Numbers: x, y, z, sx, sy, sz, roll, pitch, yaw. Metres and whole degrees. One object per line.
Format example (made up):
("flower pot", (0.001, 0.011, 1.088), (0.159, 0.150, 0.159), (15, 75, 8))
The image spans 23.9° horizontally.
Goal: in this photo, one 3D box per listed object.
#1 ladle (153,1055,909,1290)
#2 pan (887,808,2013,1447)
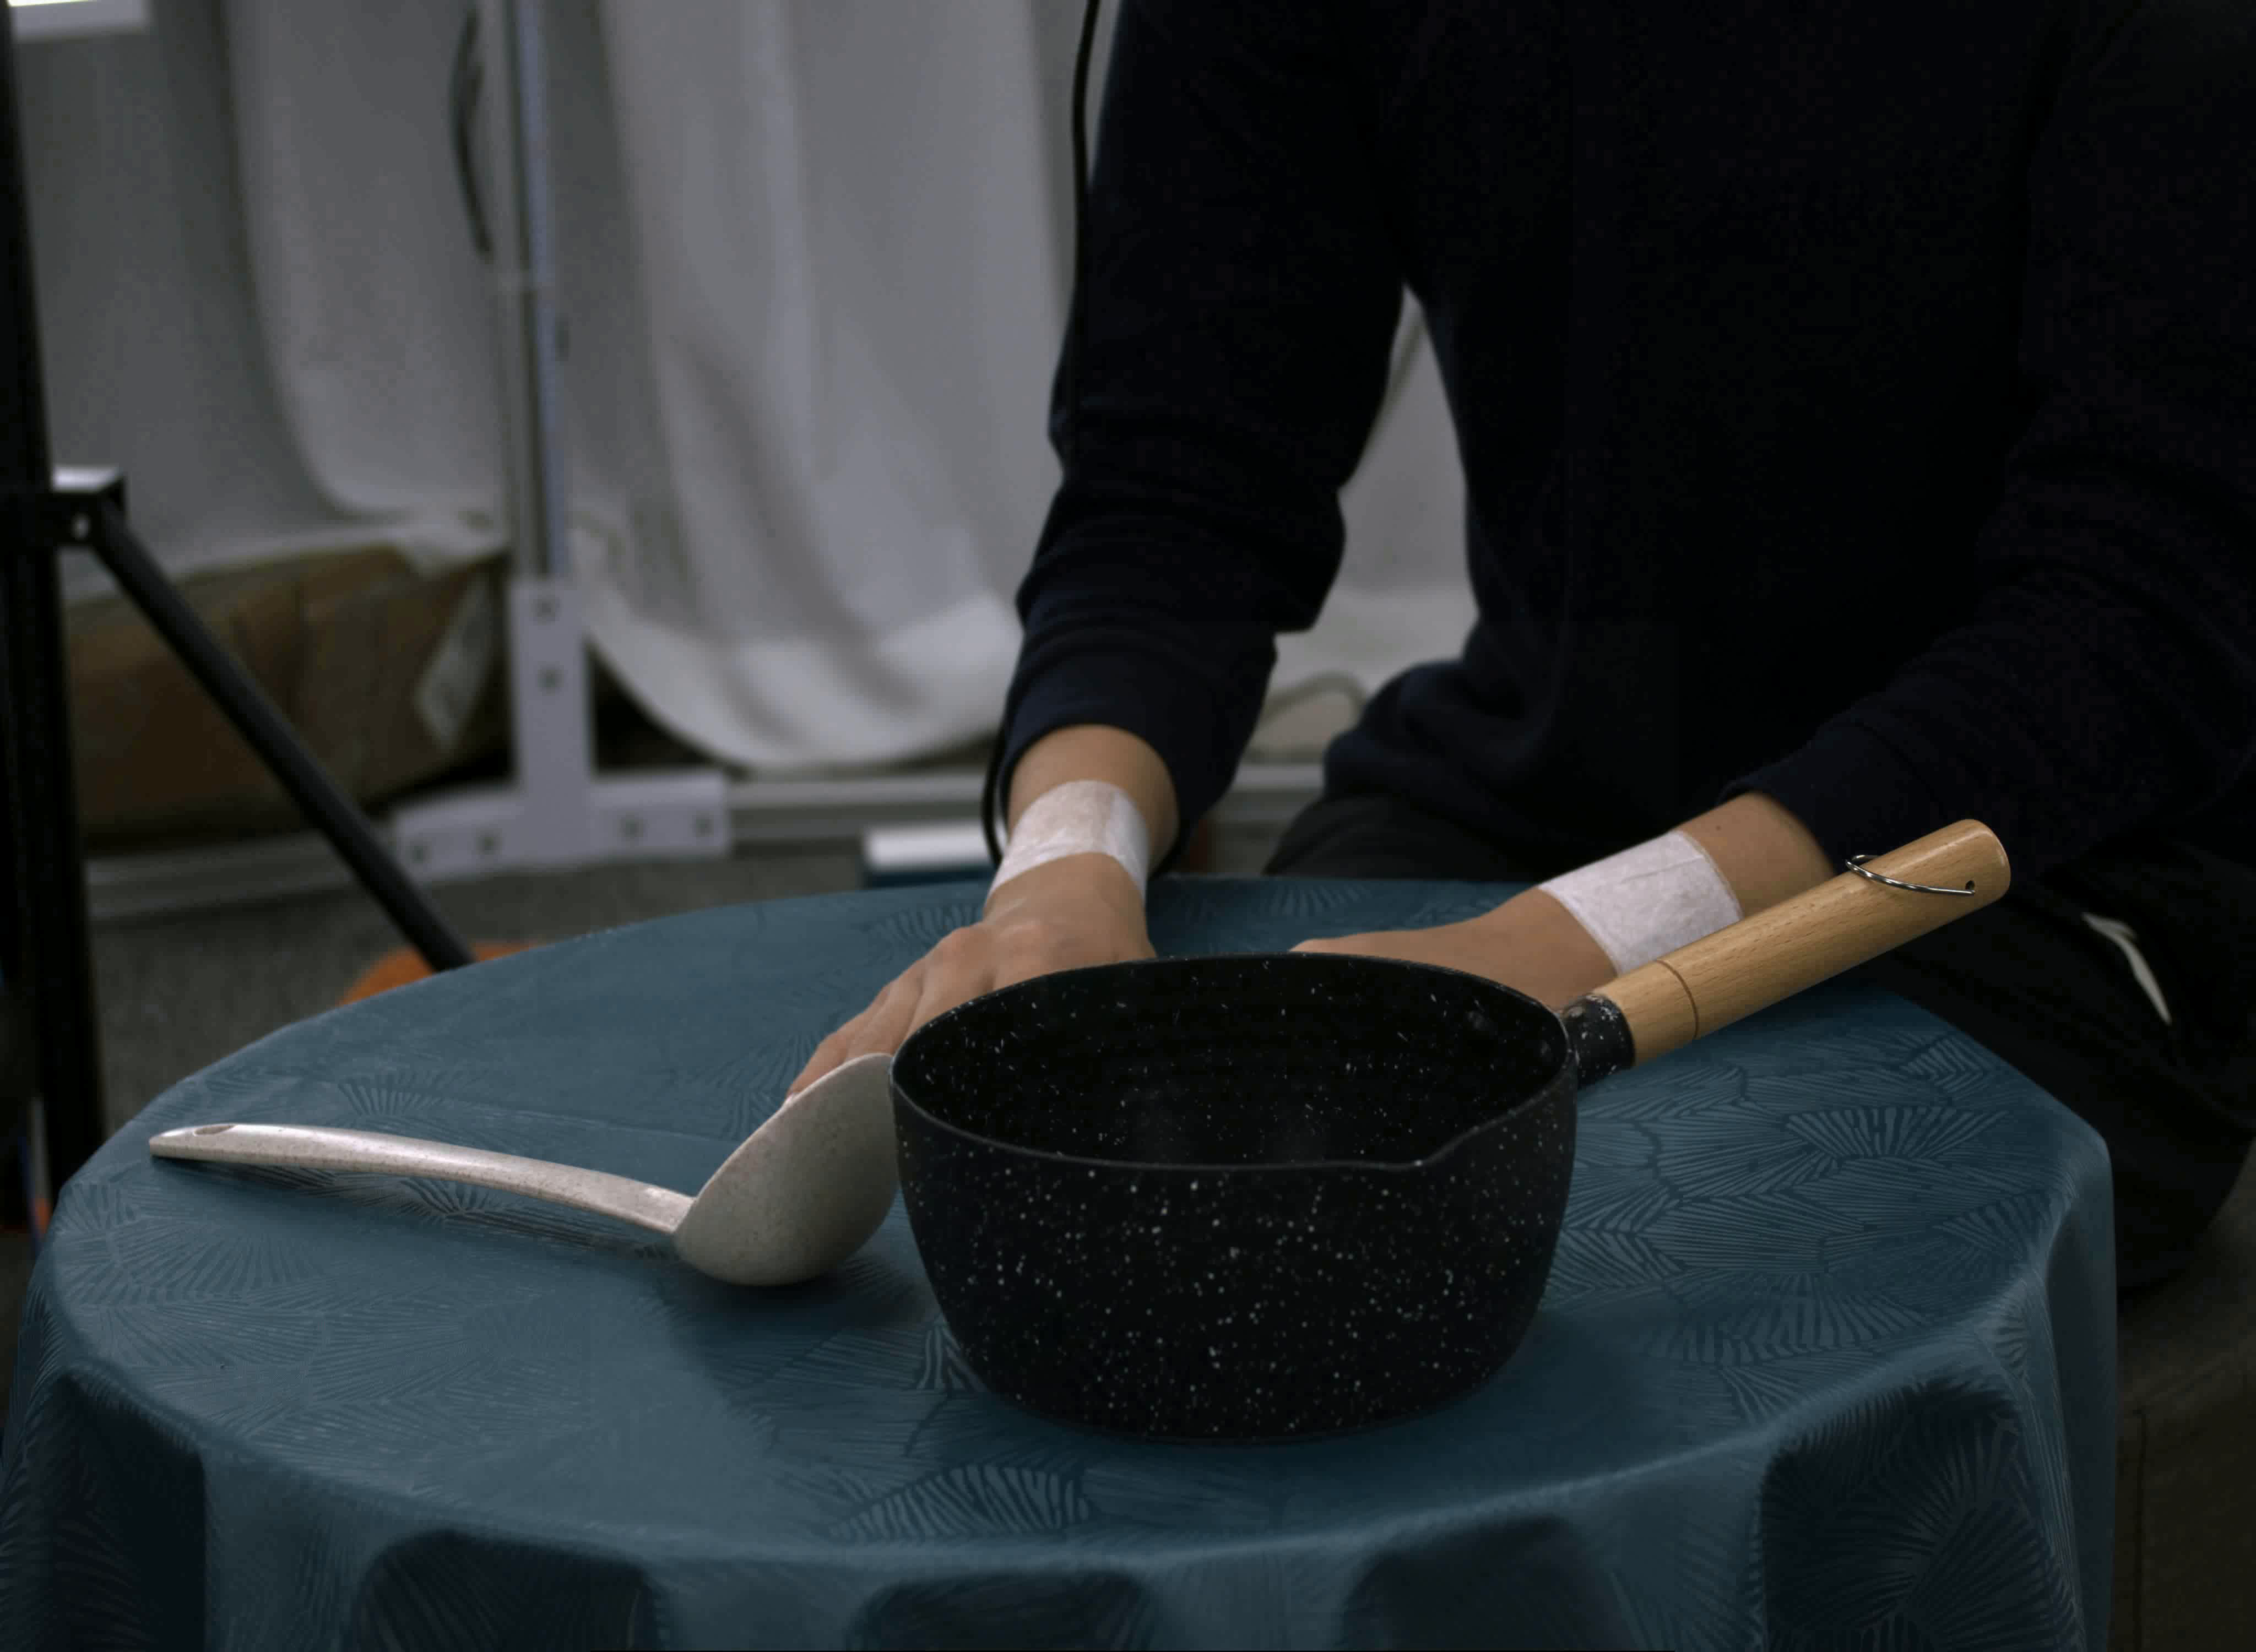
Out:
("ladle", (-0.184, 0.082, 1.554), (0.280, 0.069, 0.088), (9, 23, 34))
("pan", (0.099, 0.077, 1.454), (0.336, 0.108, 0.212), (-12, 17, -25))
